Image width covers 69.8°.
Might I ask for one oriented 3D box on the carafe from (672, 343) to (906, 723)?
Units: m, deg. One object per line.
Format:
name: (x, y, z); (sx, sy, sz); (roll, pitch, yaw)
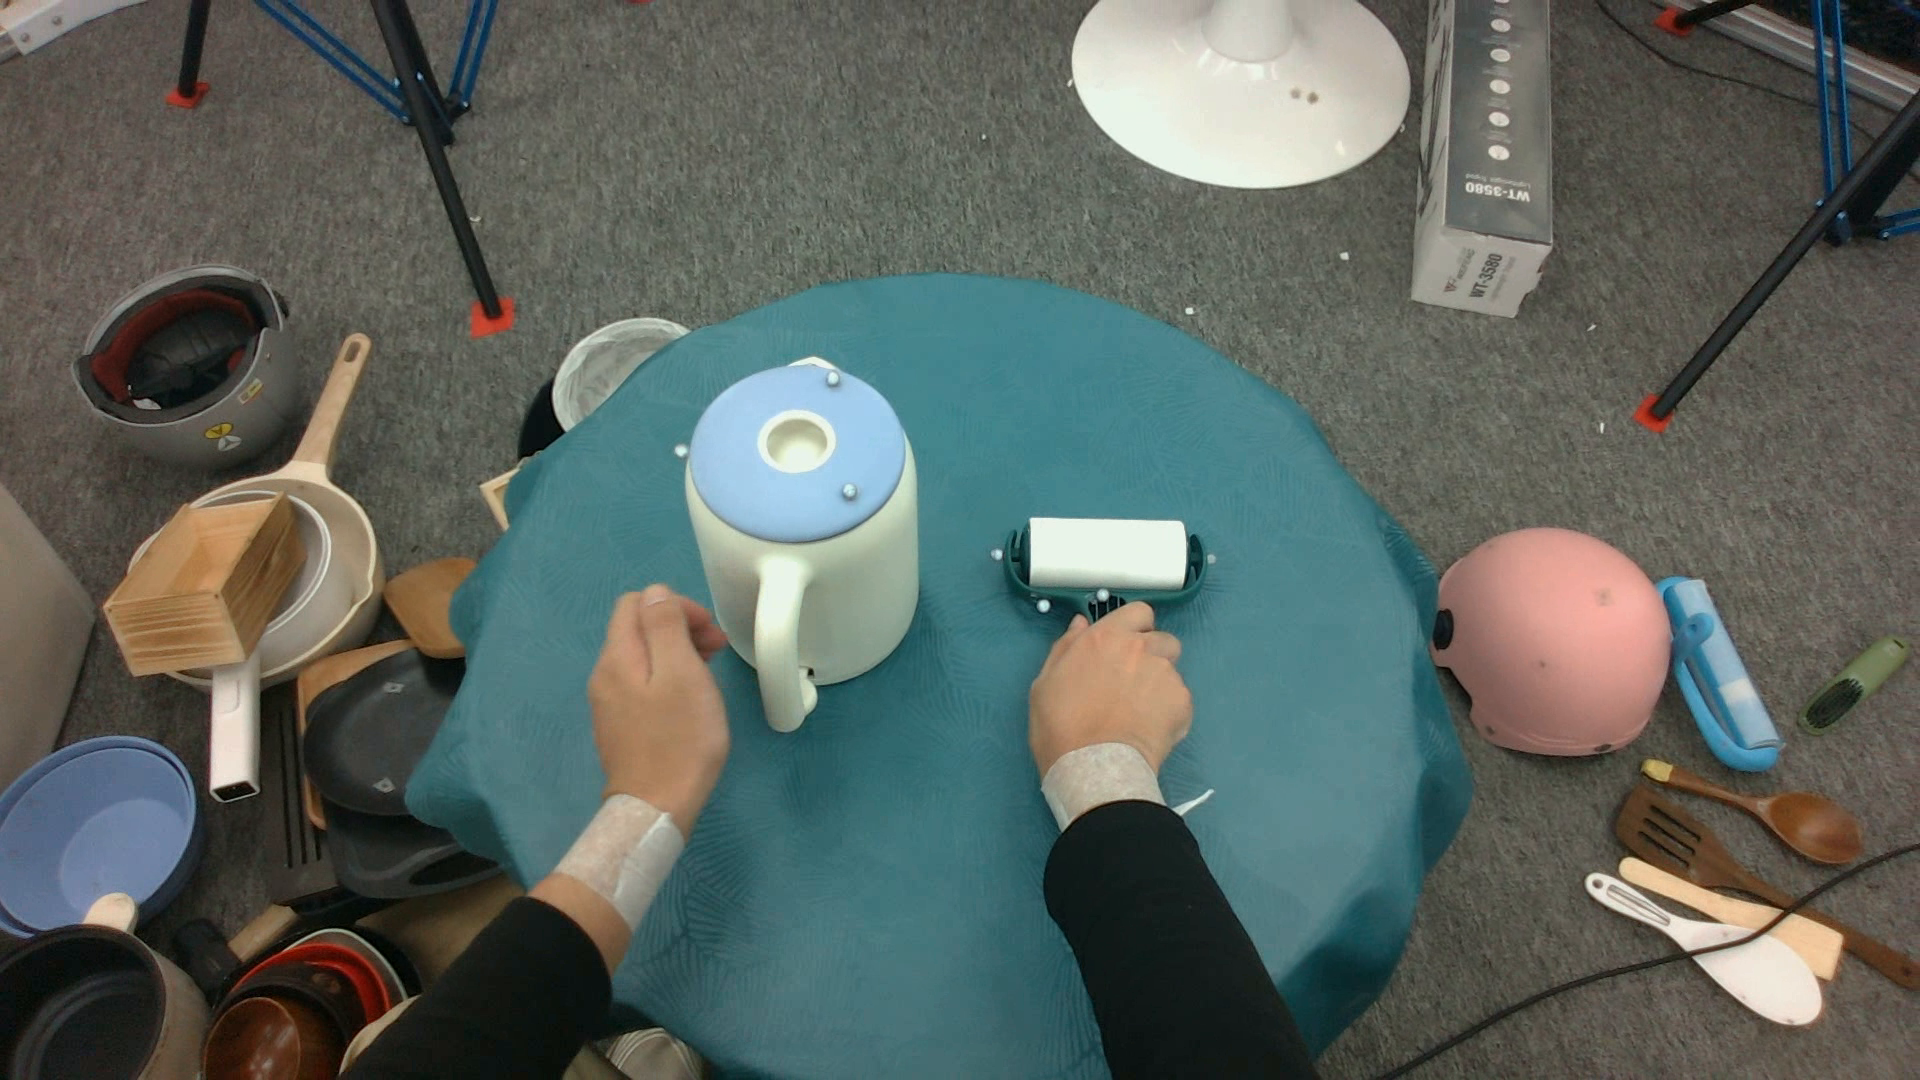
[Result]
carafe: (-0.099, 0.008, 0.808); (0.132, 0.182, 0.192); (3, 60, 0)

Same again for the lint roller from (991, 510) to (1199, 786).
lint roller: (0.086, 0.060, 0.851); (0.134, 0.048, 0.181); (1, 55, -1)
